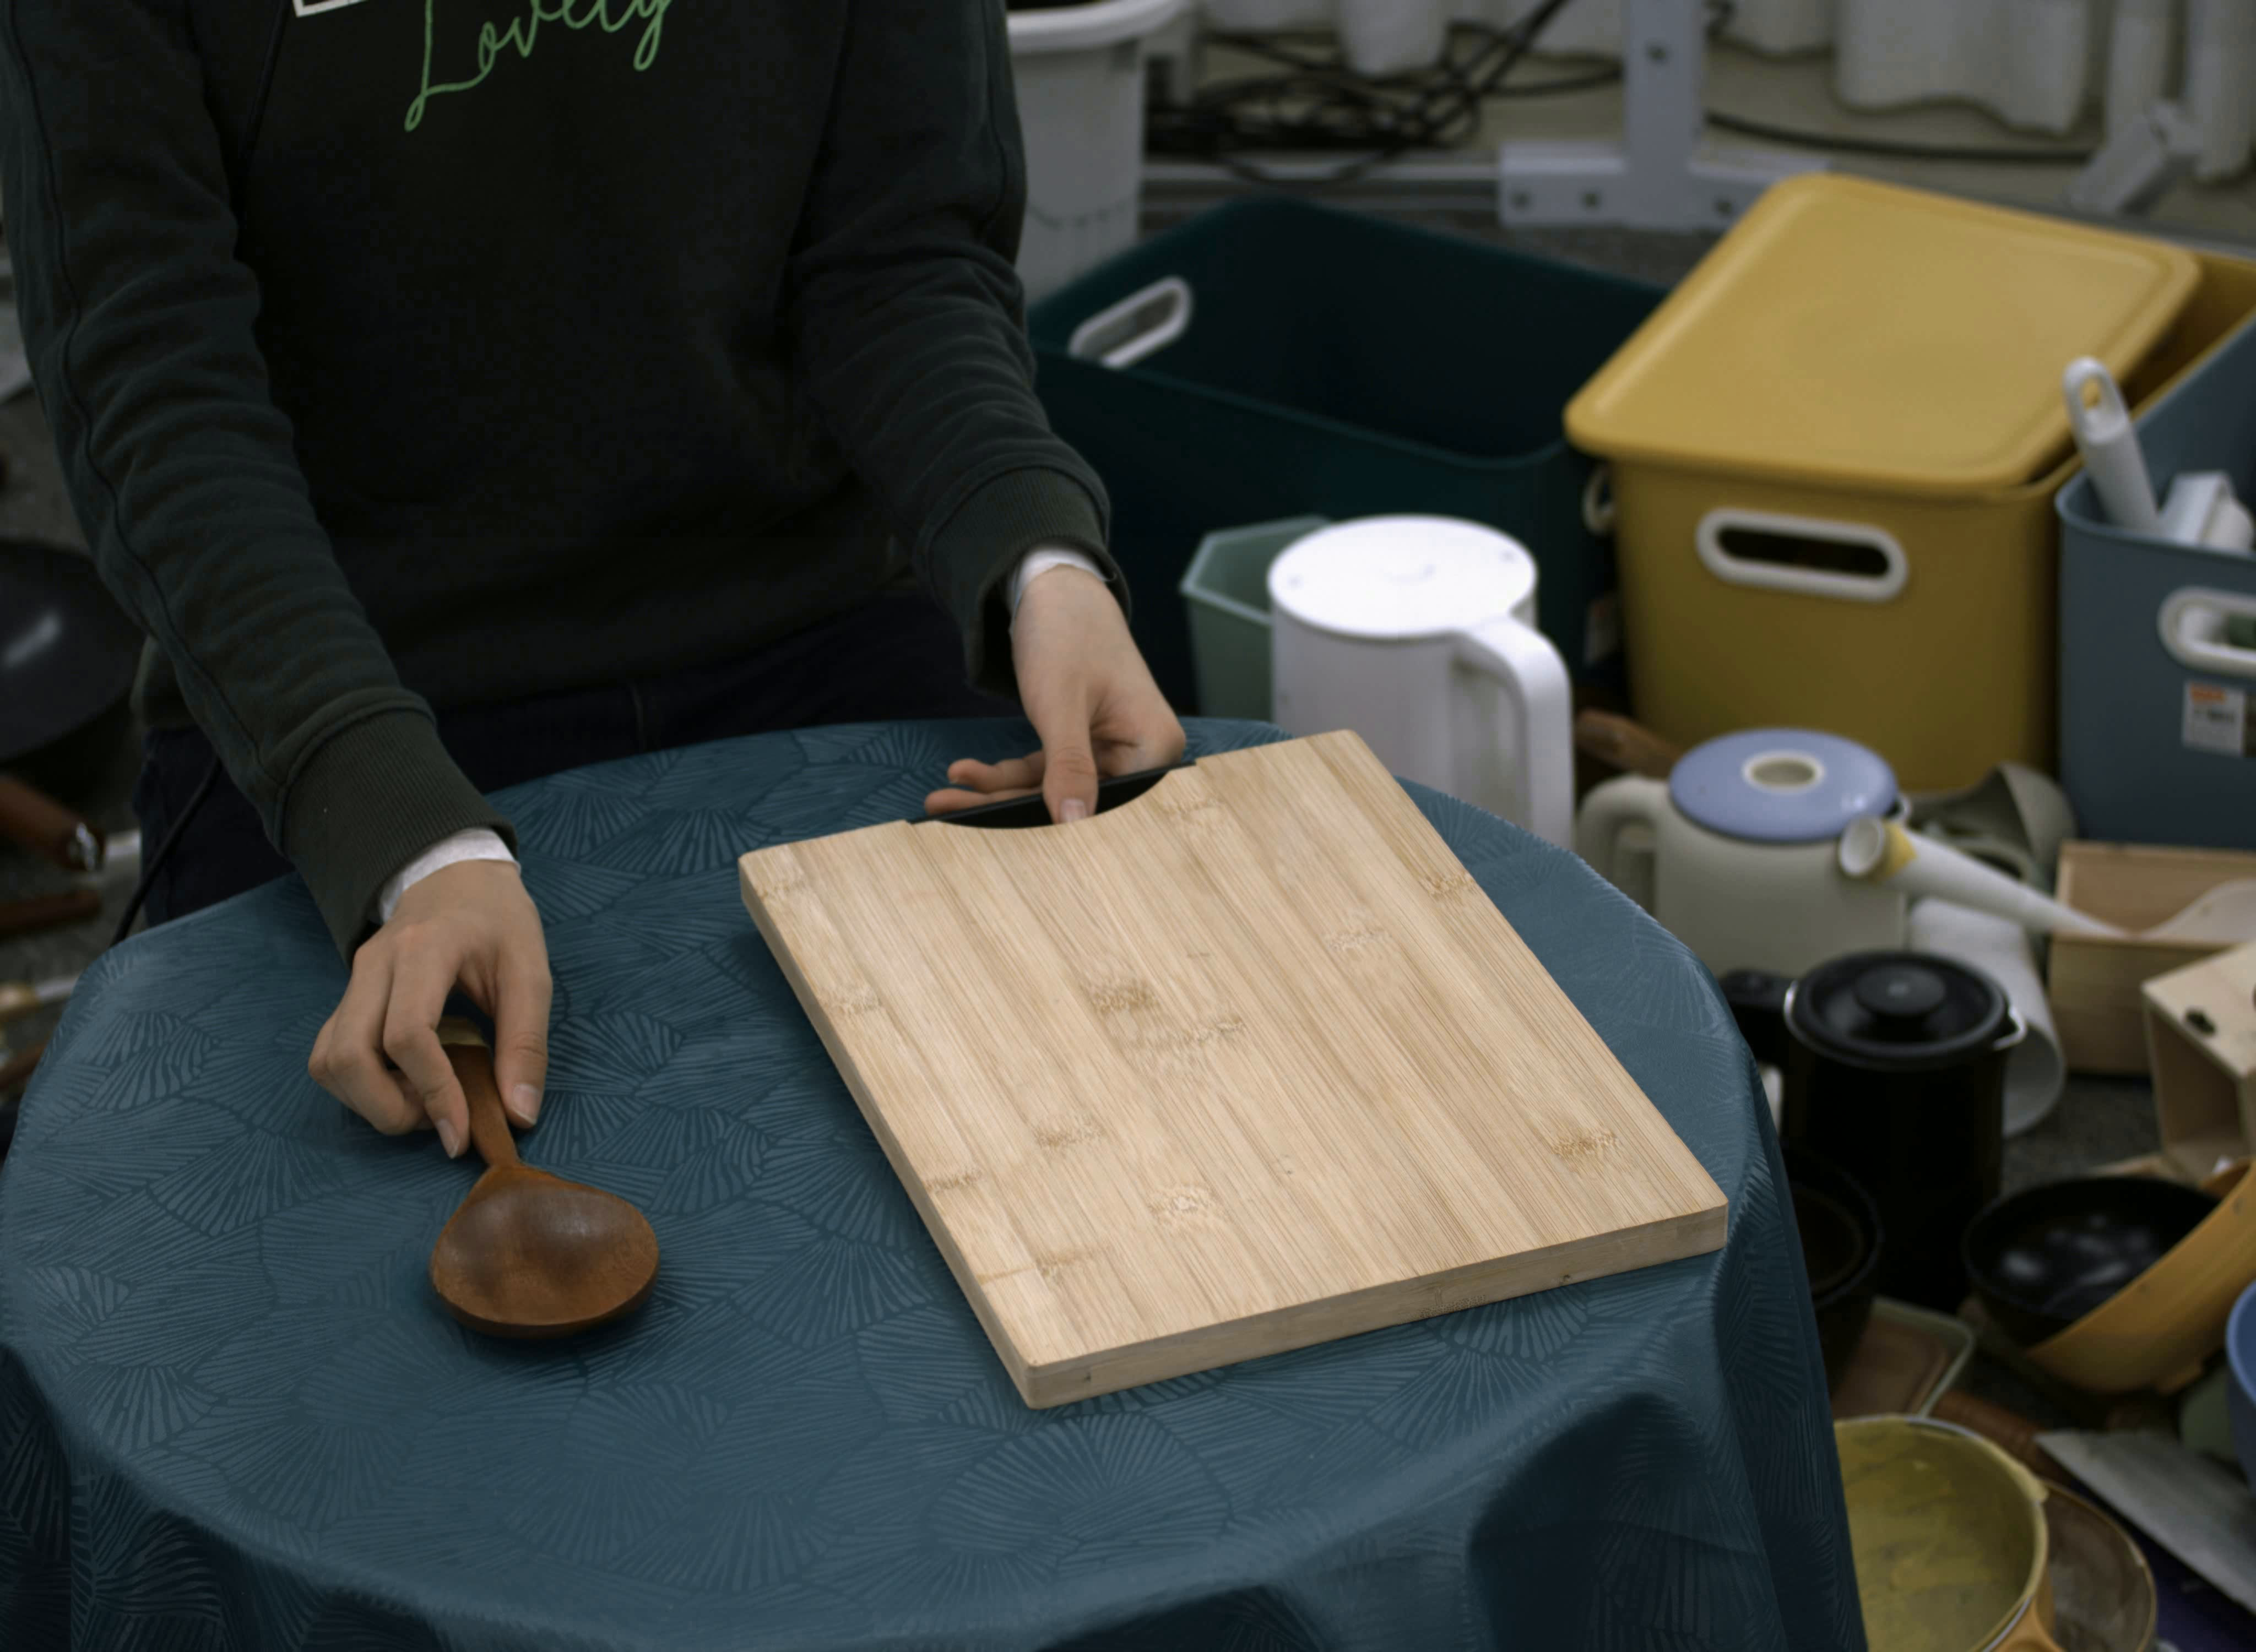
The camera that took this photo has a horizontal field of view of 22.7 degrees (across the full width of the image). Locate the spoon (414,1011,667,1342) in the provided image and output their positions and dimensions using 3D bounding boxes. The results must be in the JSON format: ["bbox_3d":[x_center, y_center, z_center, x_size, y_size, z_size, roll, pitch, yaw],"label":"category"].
[{"bbox_3d":[-0.206,0.117,1.871,0.075,0.017,0.218,-13,29,-13],"label":"spoon"}]

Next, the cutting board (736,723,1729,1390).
[{"bbox_3d":[0.026,0.071,1.923,0.251,0.023,0.352,-11,31,-17],"label":"cutting board"}]
